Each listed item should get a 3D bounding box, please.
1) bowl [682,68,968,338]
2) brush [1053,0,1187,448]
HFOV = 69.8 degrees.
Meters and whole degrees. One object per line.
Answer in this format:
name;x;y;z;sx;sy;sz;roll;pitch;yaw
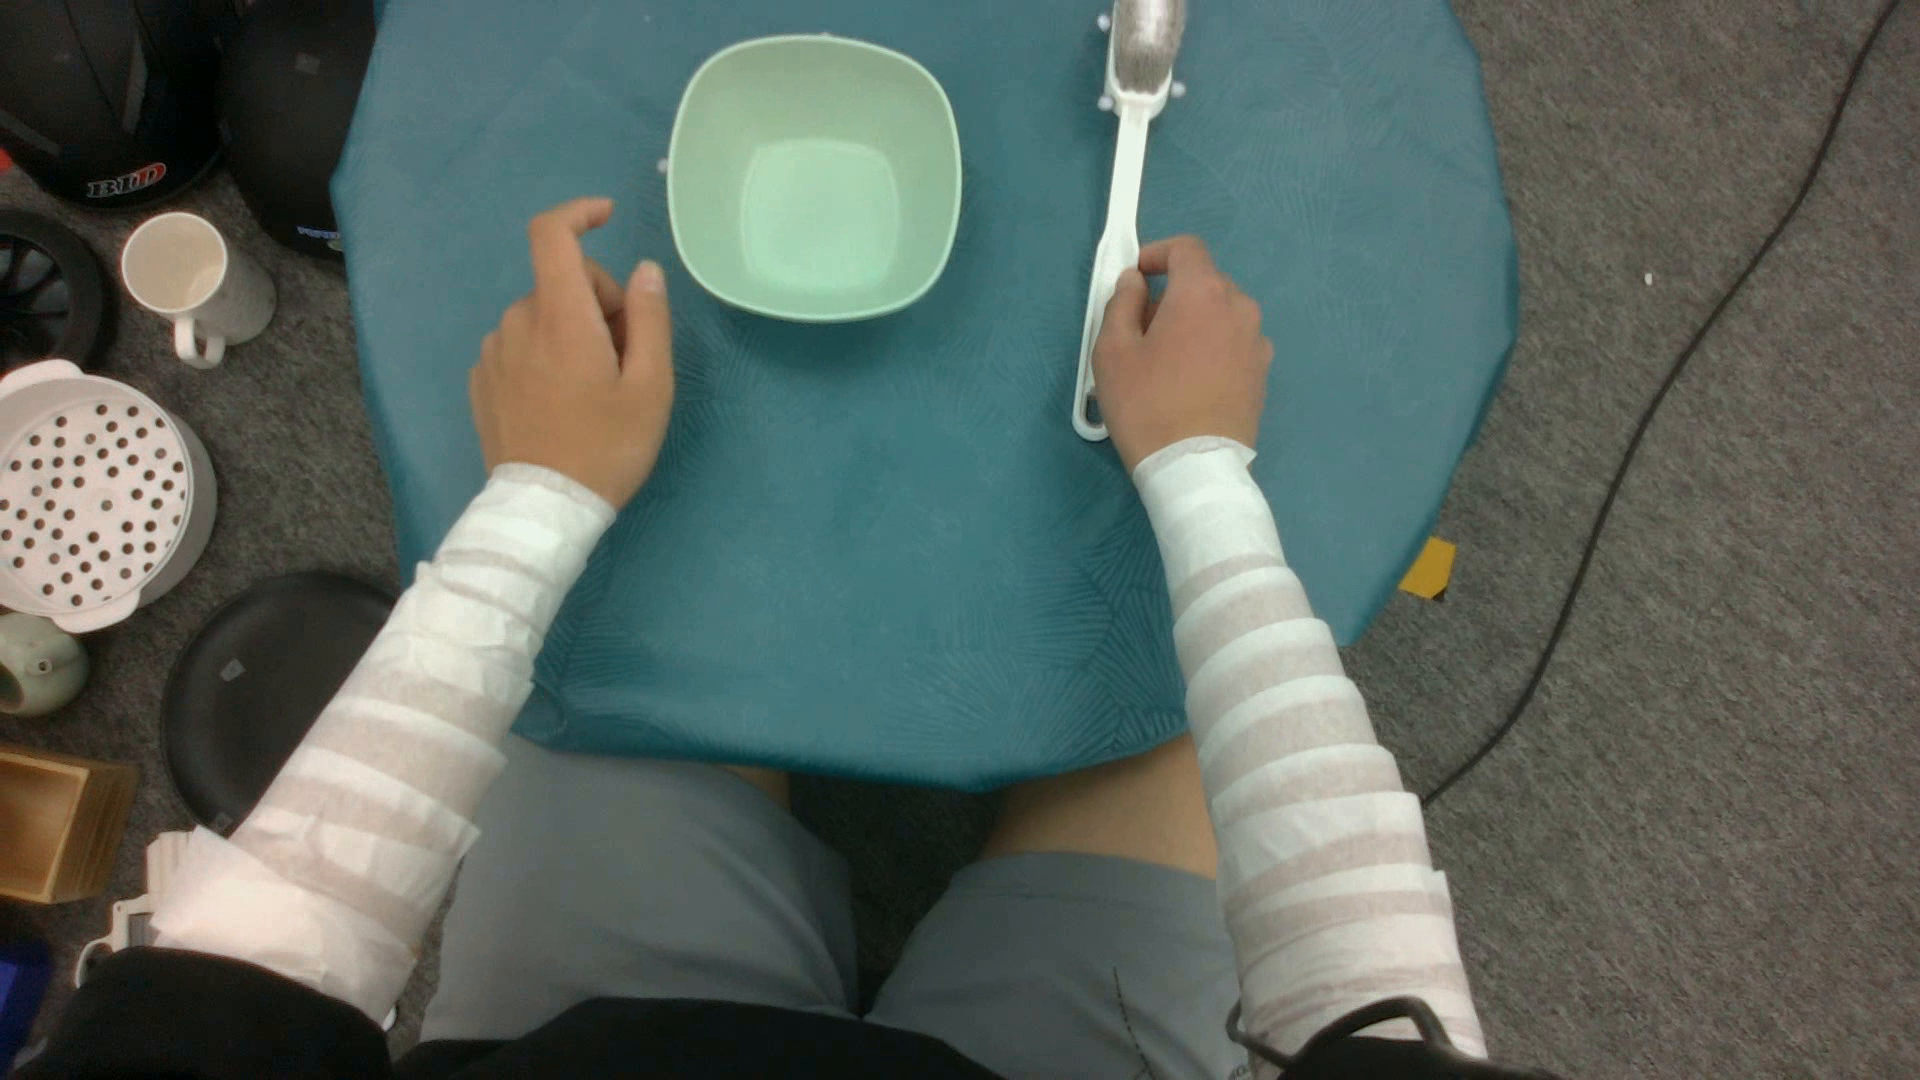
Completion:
bowl;-0.066;-0.161;0.696;0.151;0.058;0.151;0;79;-1
brush;0.082;-0.169;0.710;0.034;0.050;0.244;12;79;-6
